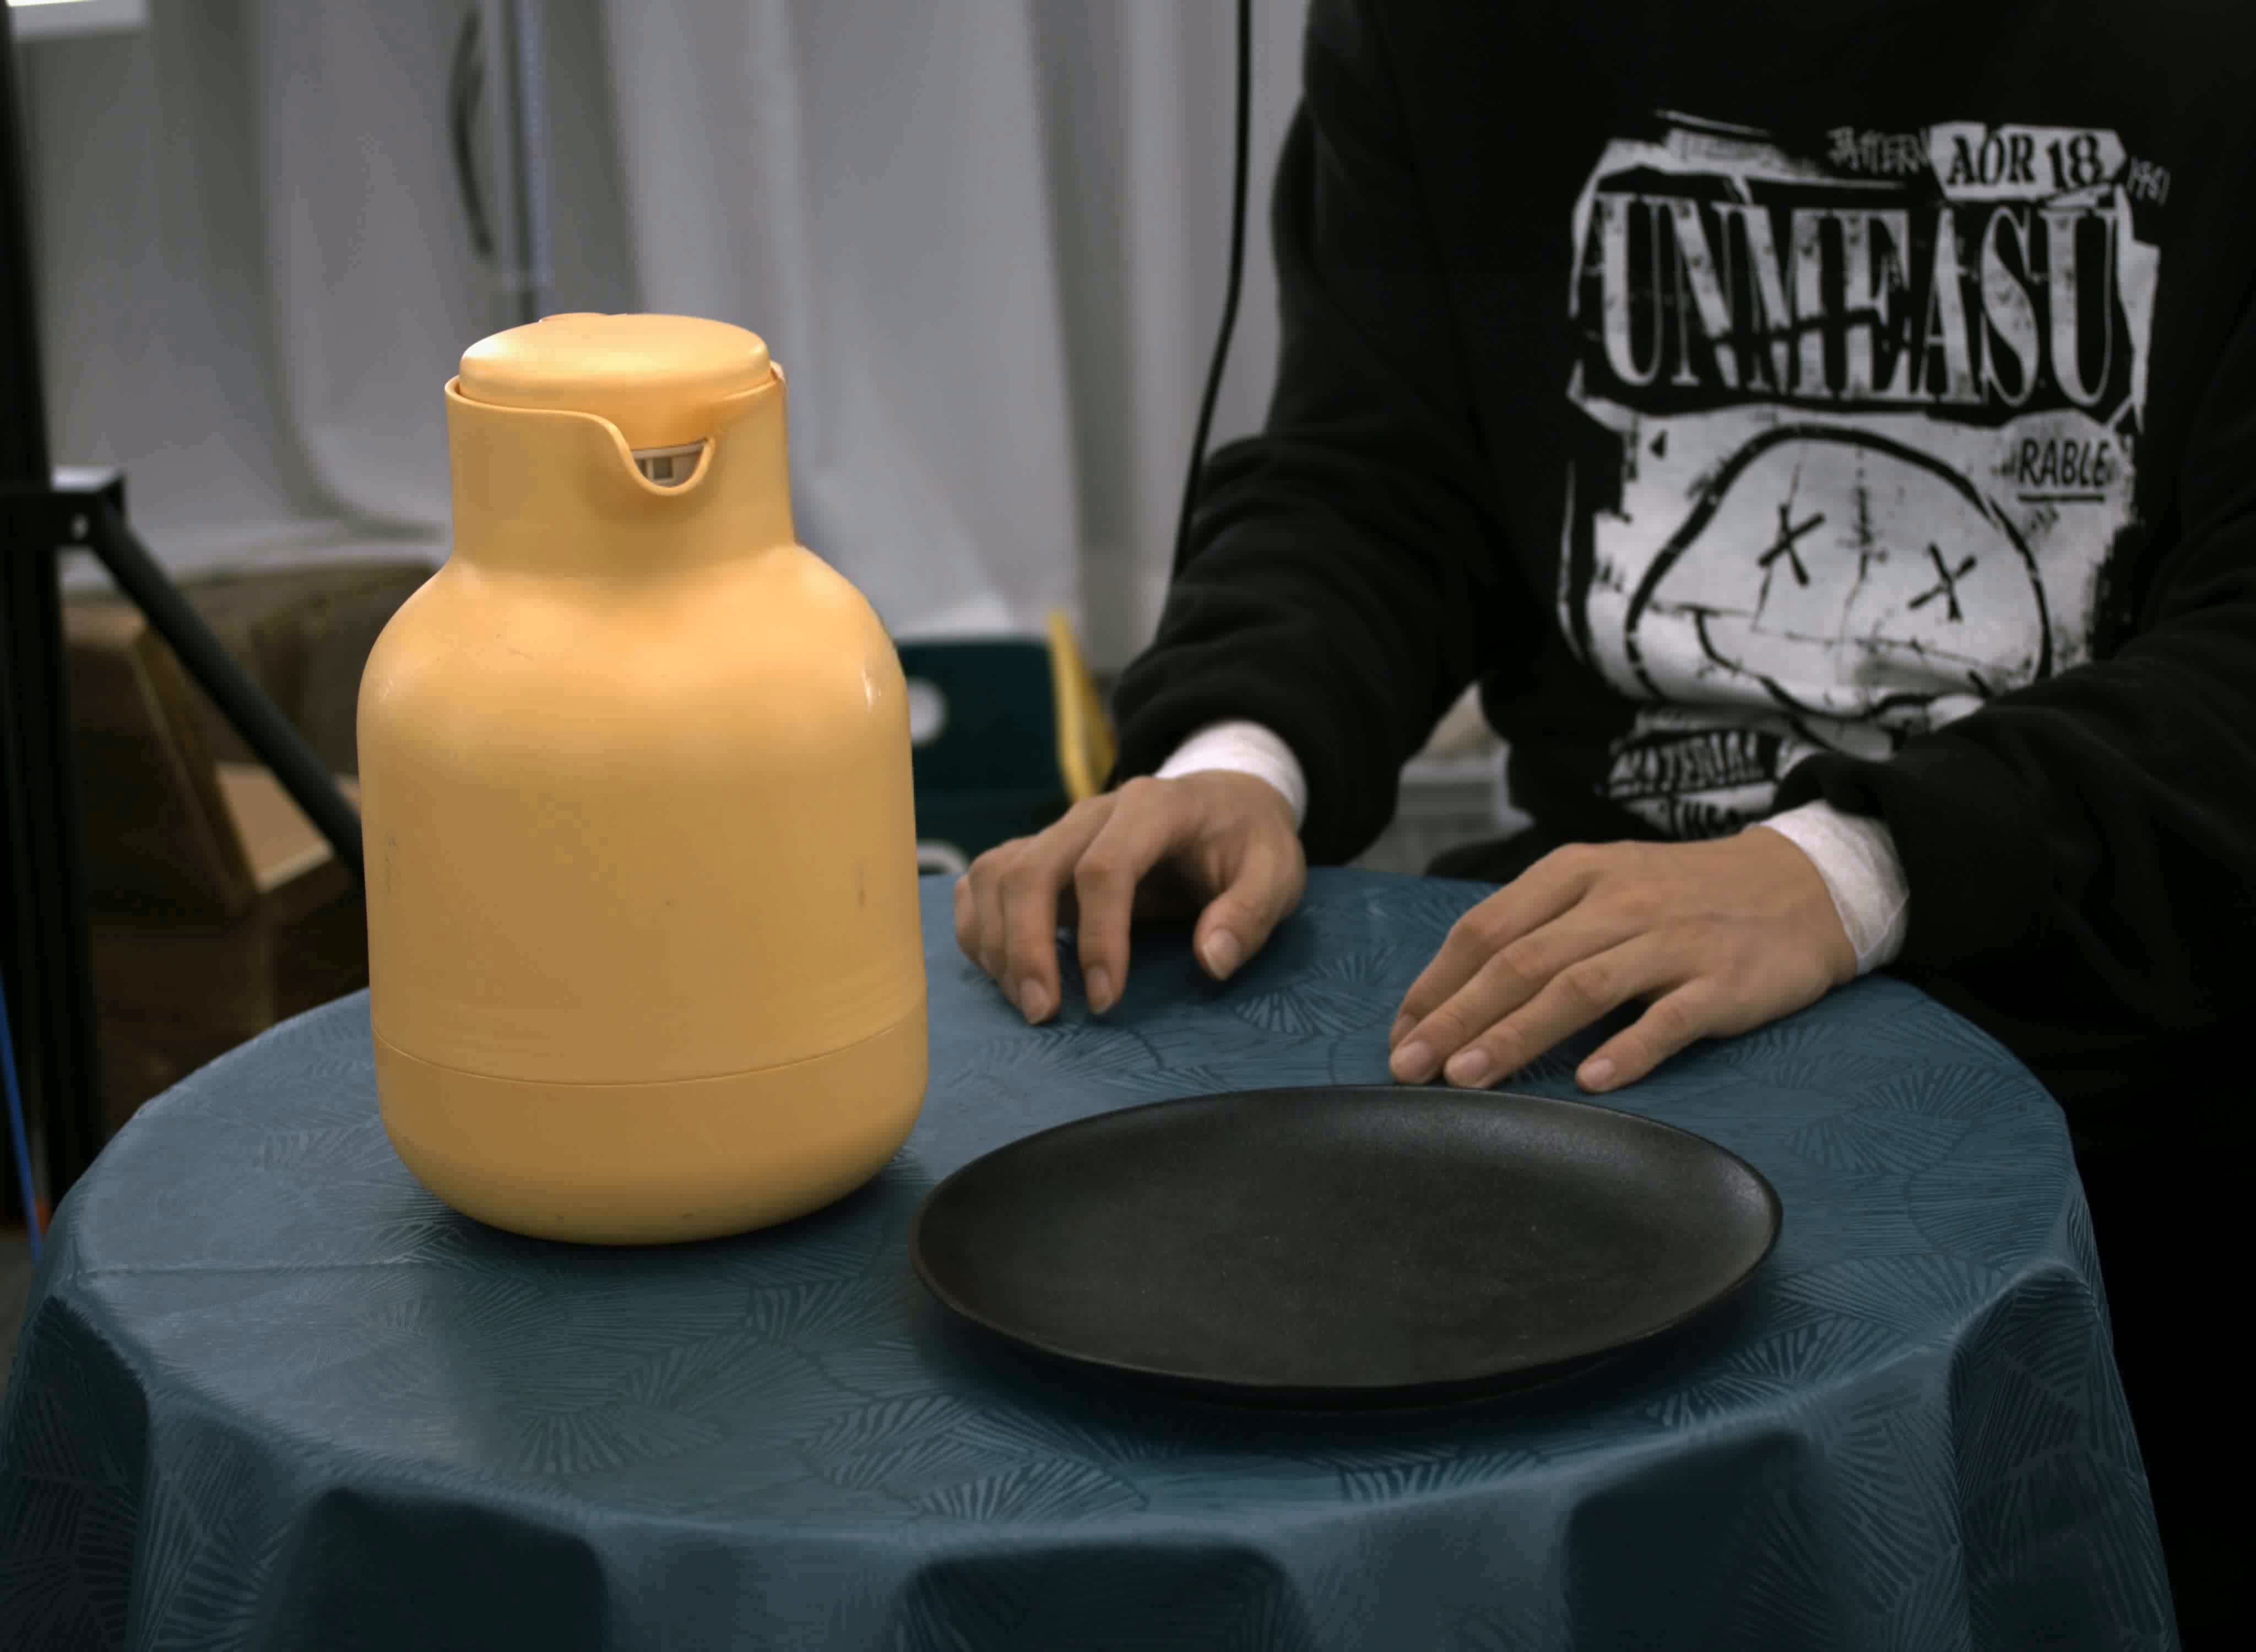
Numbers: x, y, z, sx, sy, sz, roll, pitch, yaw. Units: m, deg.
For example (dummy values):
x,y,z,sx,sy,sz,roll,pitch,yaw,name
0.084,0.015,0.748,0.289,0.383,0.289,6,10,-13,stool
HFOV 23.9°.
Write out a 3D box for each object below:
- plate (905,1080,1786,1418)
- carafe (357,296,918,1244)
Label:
x,y,z,sx,sy,sz,roll,pitch,yaw,name
0.060,0.119,1.462,0.243,0.023,0.245,-3,16,-1,plate
-0.147,-0.025,1.569,0.161,0.260,0.205,-3,16,-13,carafe
